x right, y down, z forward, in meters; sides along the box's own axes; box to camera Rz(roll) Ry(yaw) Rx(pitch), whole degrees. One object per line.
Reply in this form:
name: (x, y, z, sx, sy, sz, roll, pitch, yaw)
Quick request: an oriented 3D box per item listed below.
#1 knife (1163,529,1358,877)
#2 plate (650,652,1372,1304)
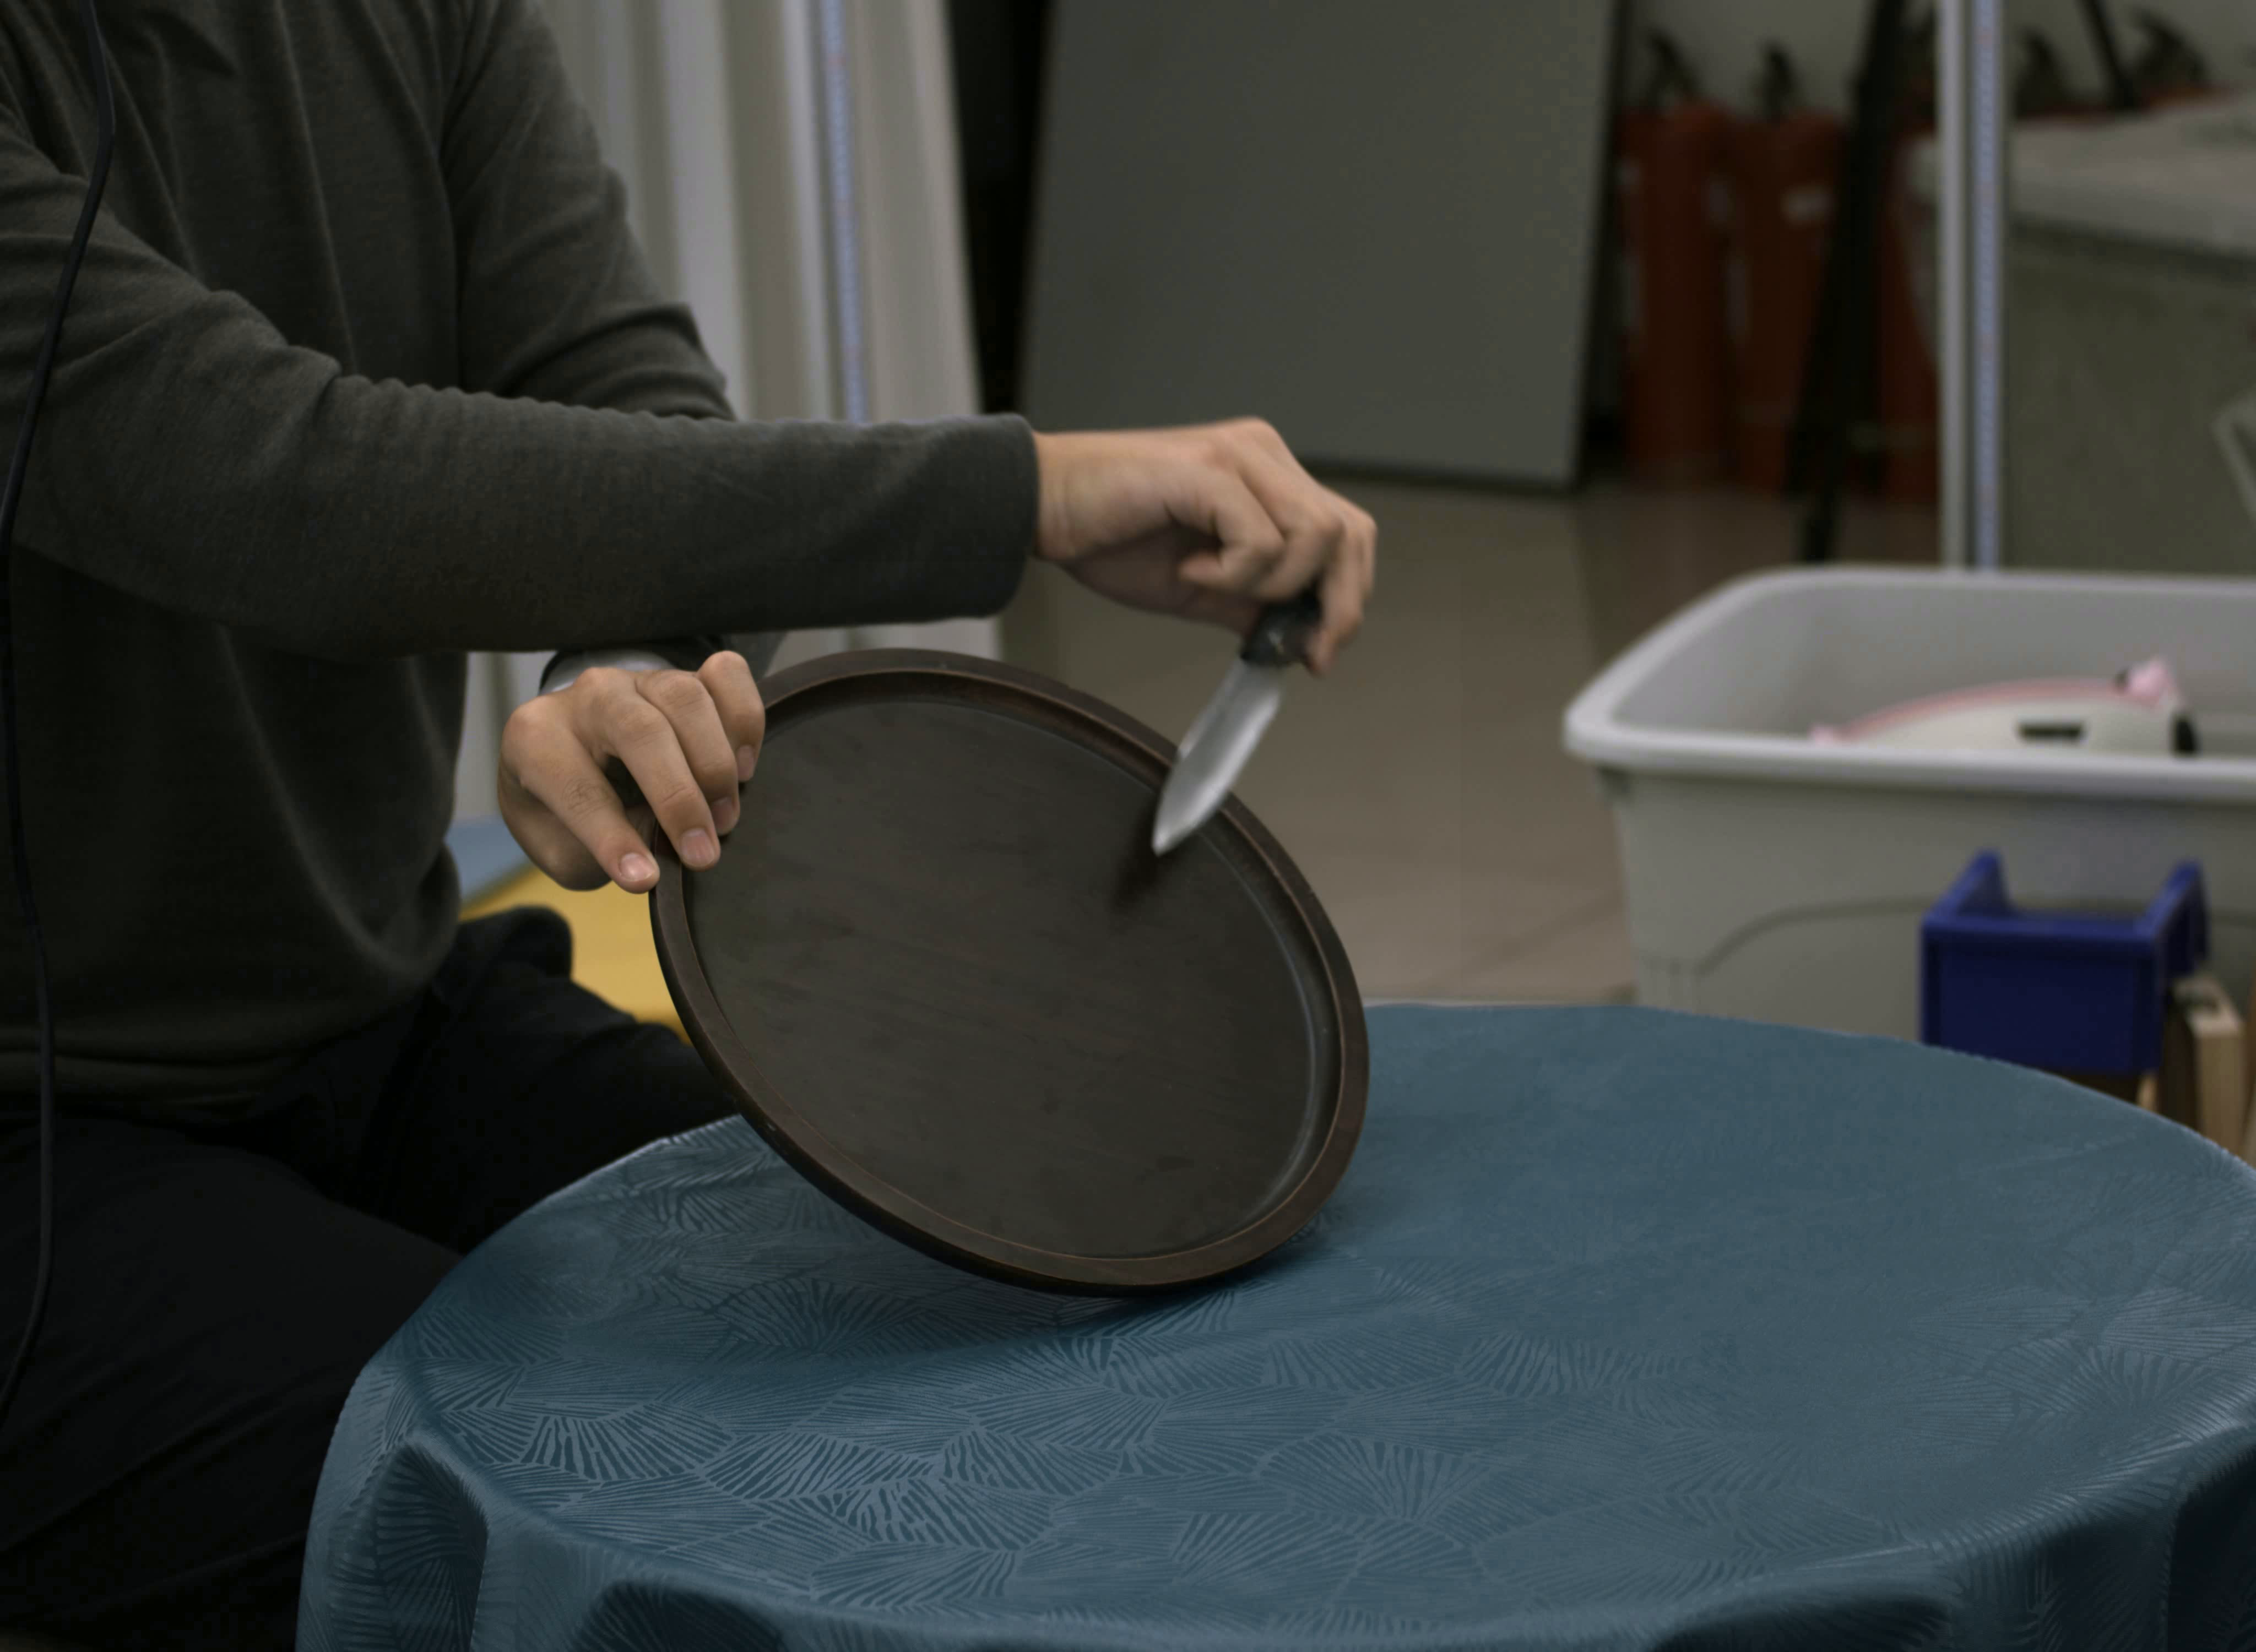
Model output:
knife: (0.043, -0.045, 1.848, 0.016, 0.024, 0.237, -33, 16, 31)
plate: (-0.037, 0.047, 1.724, 0.250, 0.029, 0.257, 17, 44, -18)
